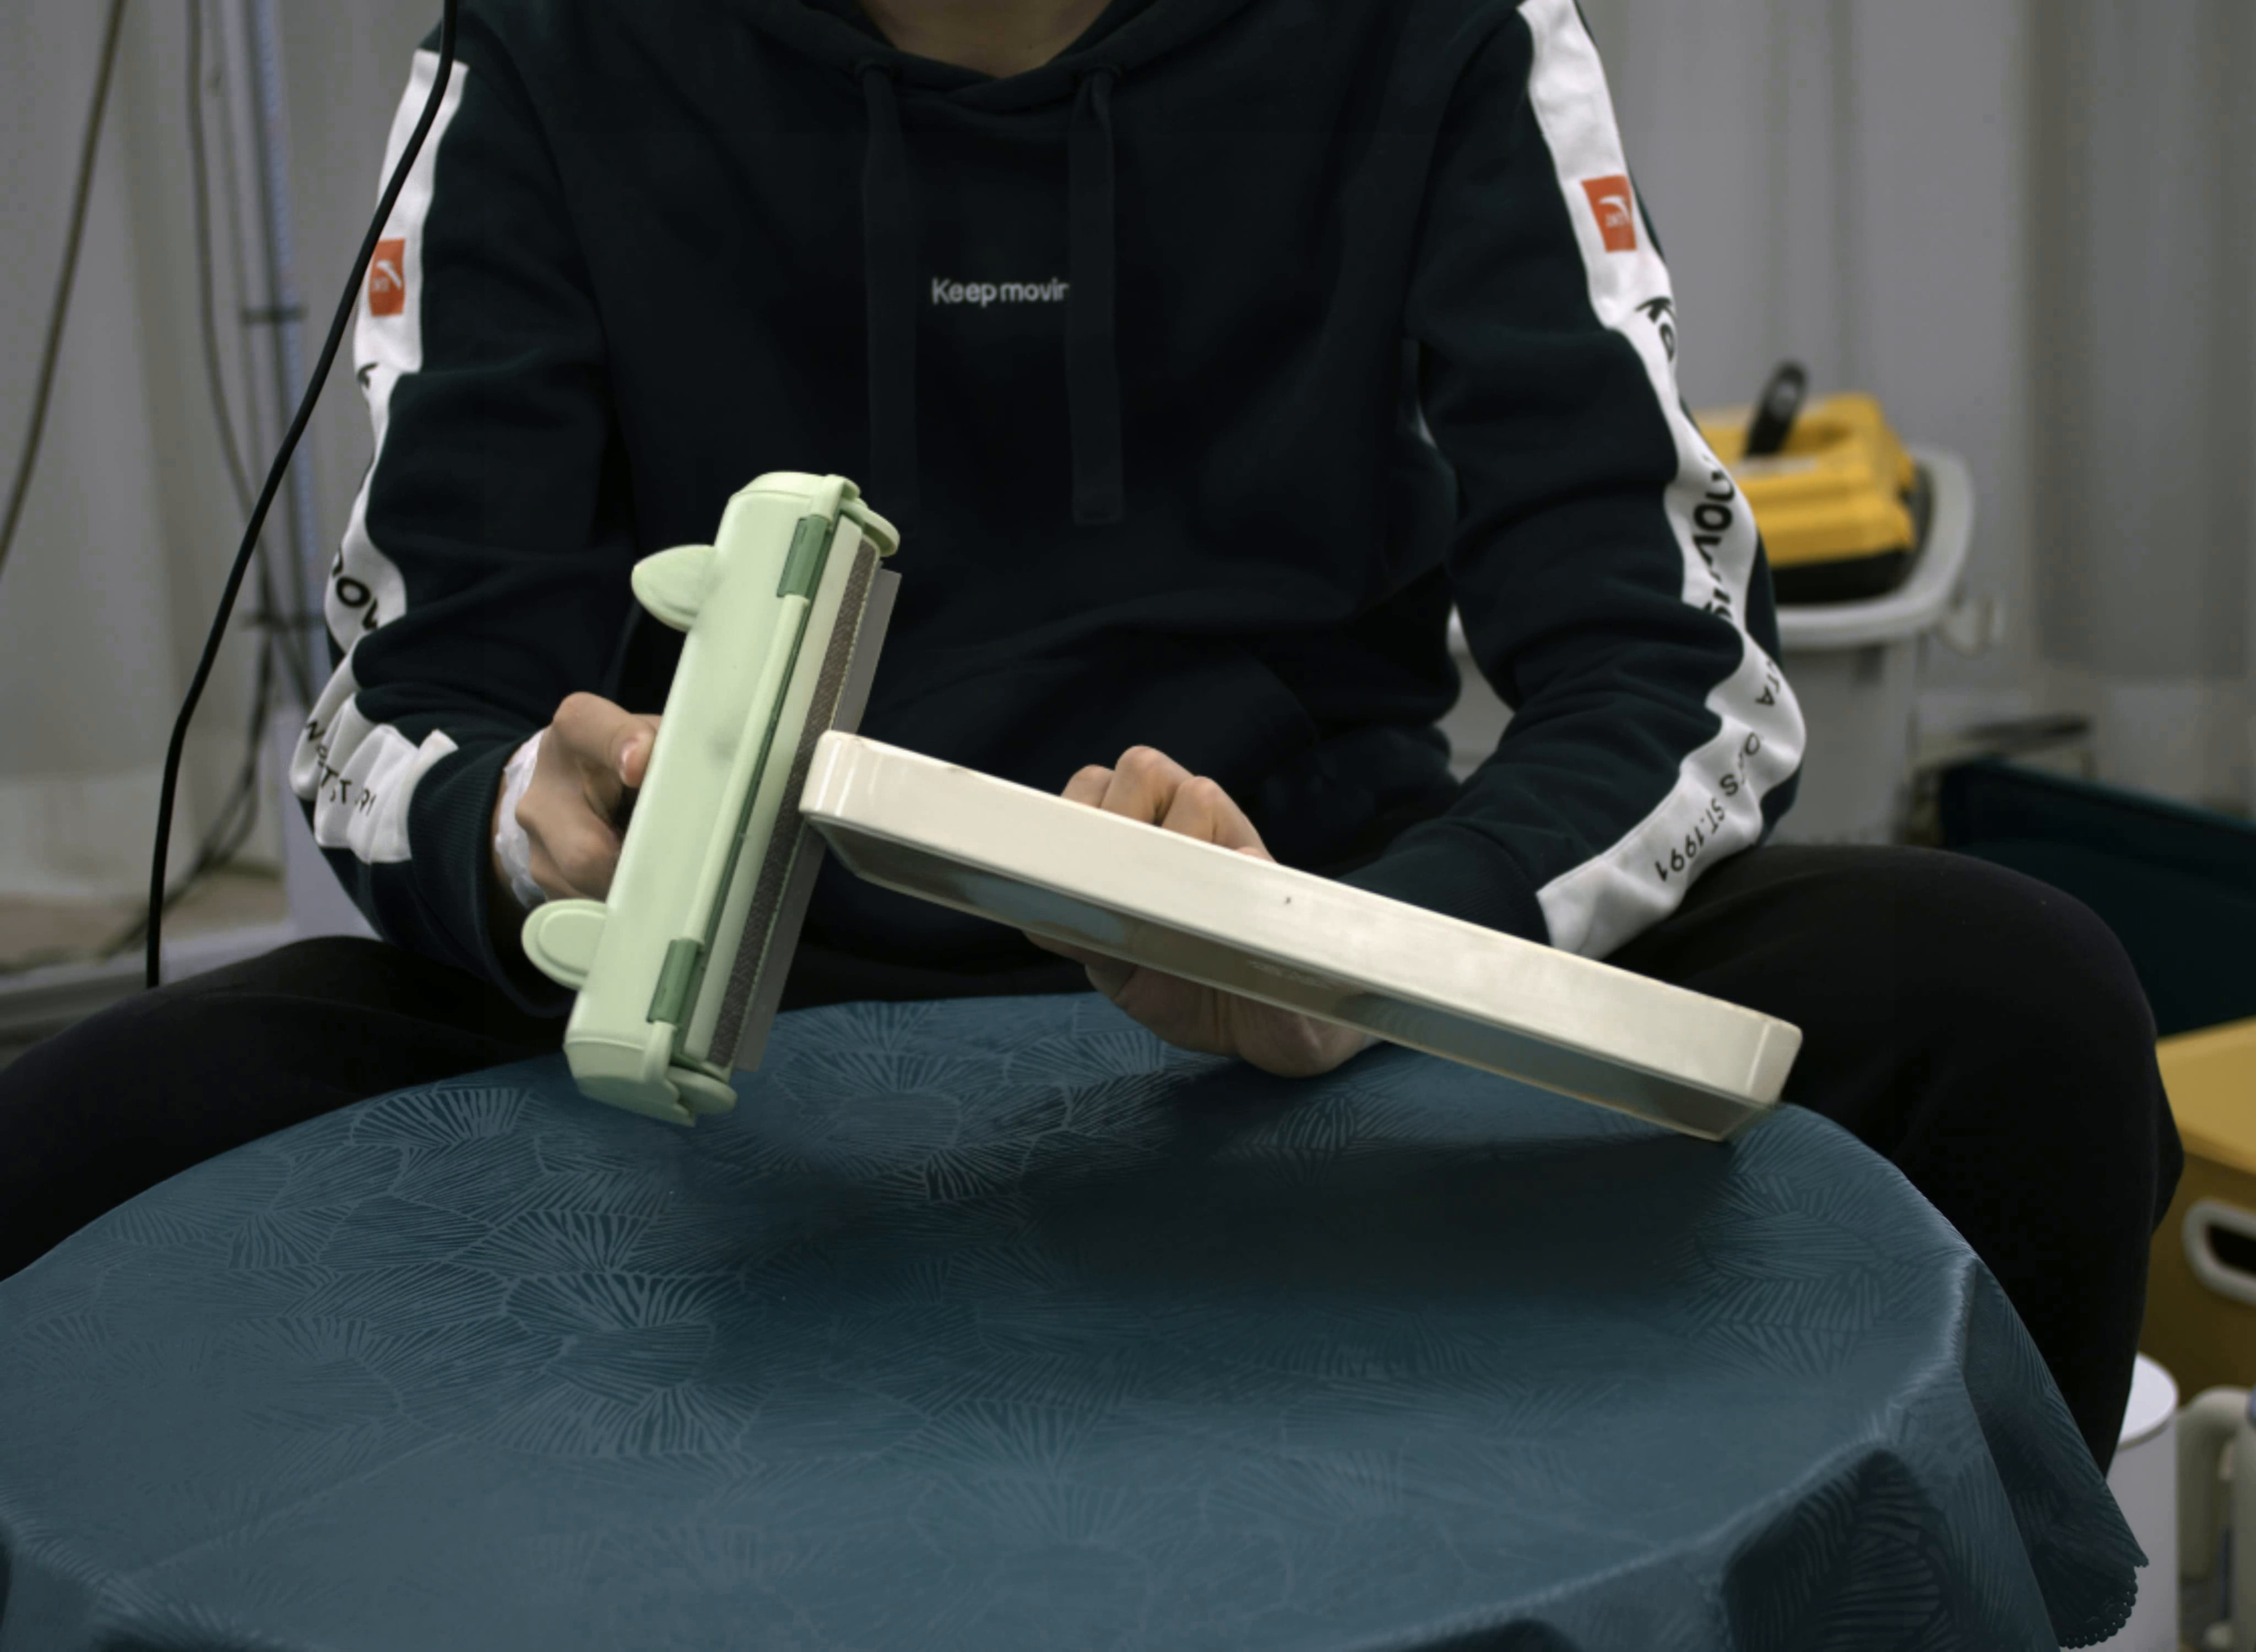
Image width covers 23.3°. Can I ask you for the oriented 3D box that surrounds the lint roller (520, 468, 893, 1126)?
[{"bbox_3d":[-0.149,-0.005,1.688,0.081,0.200,0.183,22,-17,-22],"label":"lint roller"}]

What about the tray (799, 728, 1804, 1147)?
[{"bbox_3d":[0.051,0.037,1.658,0.300,0.027,0.191,17,-6,5],"label":"tray"}]
